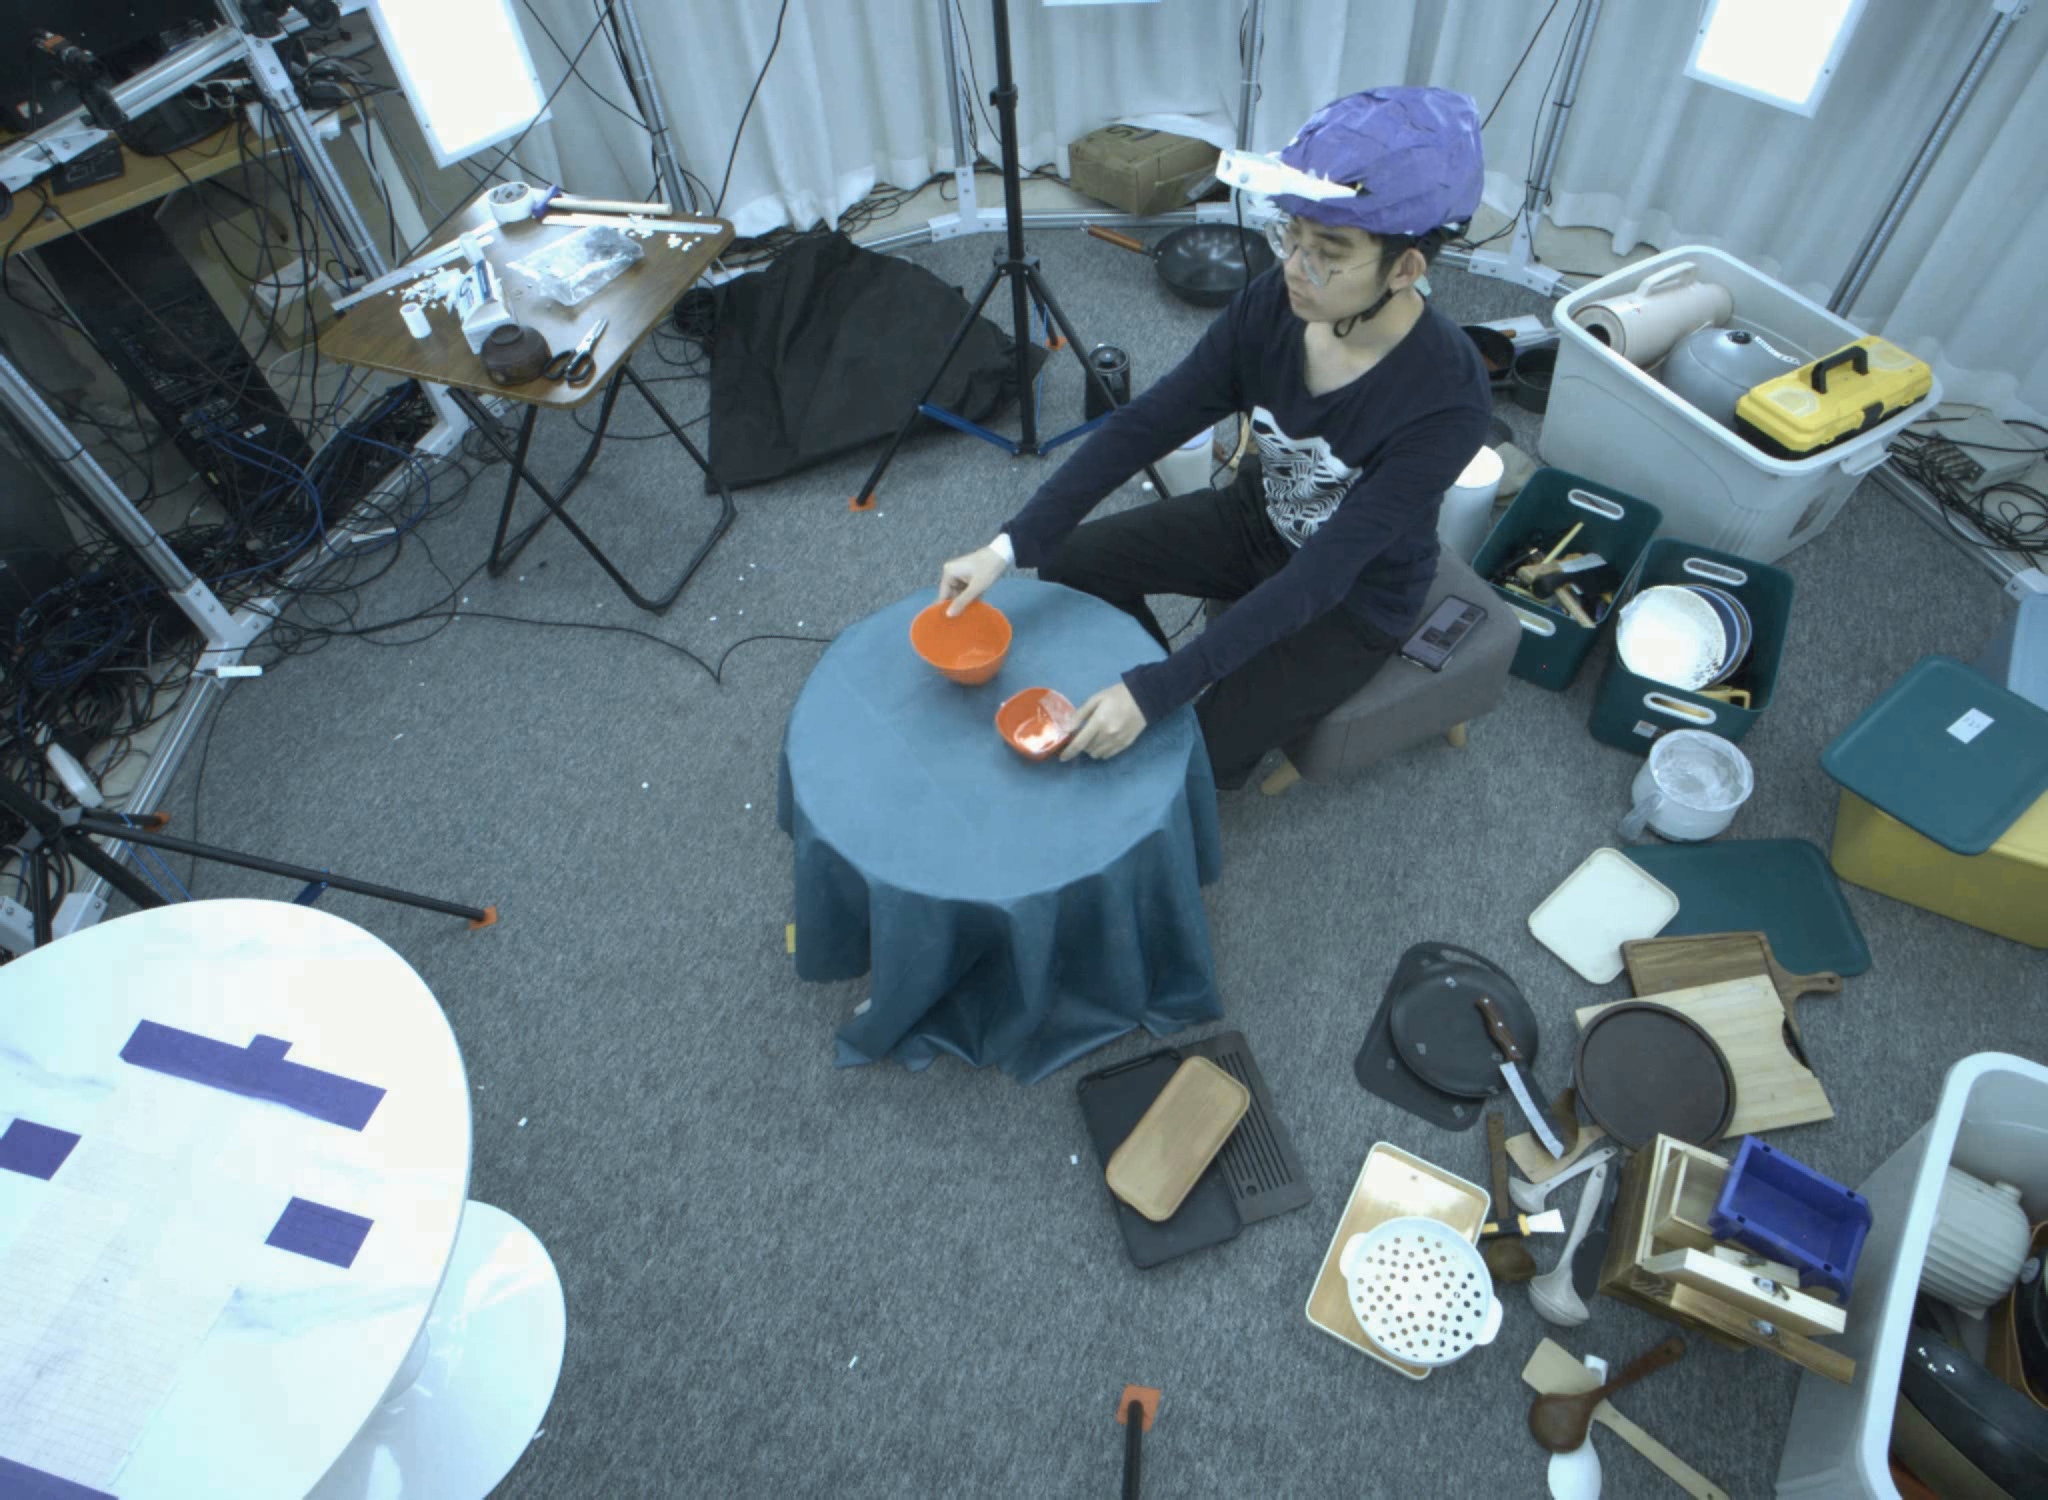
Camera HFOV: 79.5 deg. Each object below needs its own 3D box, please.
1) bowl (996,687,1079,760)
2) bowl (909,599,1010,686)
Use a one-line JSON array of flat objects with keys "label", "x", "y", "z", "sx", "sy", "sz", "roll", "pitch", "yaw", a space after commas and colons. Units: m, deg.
[{"label": "bowl", "x": 0.020, "y": -0.031, "z": 1.787, "sx": 0.119, "sy": 0.052, "sz": 0.117, "roll": 0, "pitch": 53, "yaw": 2}, {"label": "bowl", "x": -0.091, "y": -0.148, "z": 1.841, "sx": 0.147, "sy": 0.106, "sz": 0.146, "roll": -2, "pitch": 55, "yaw": 5}]
